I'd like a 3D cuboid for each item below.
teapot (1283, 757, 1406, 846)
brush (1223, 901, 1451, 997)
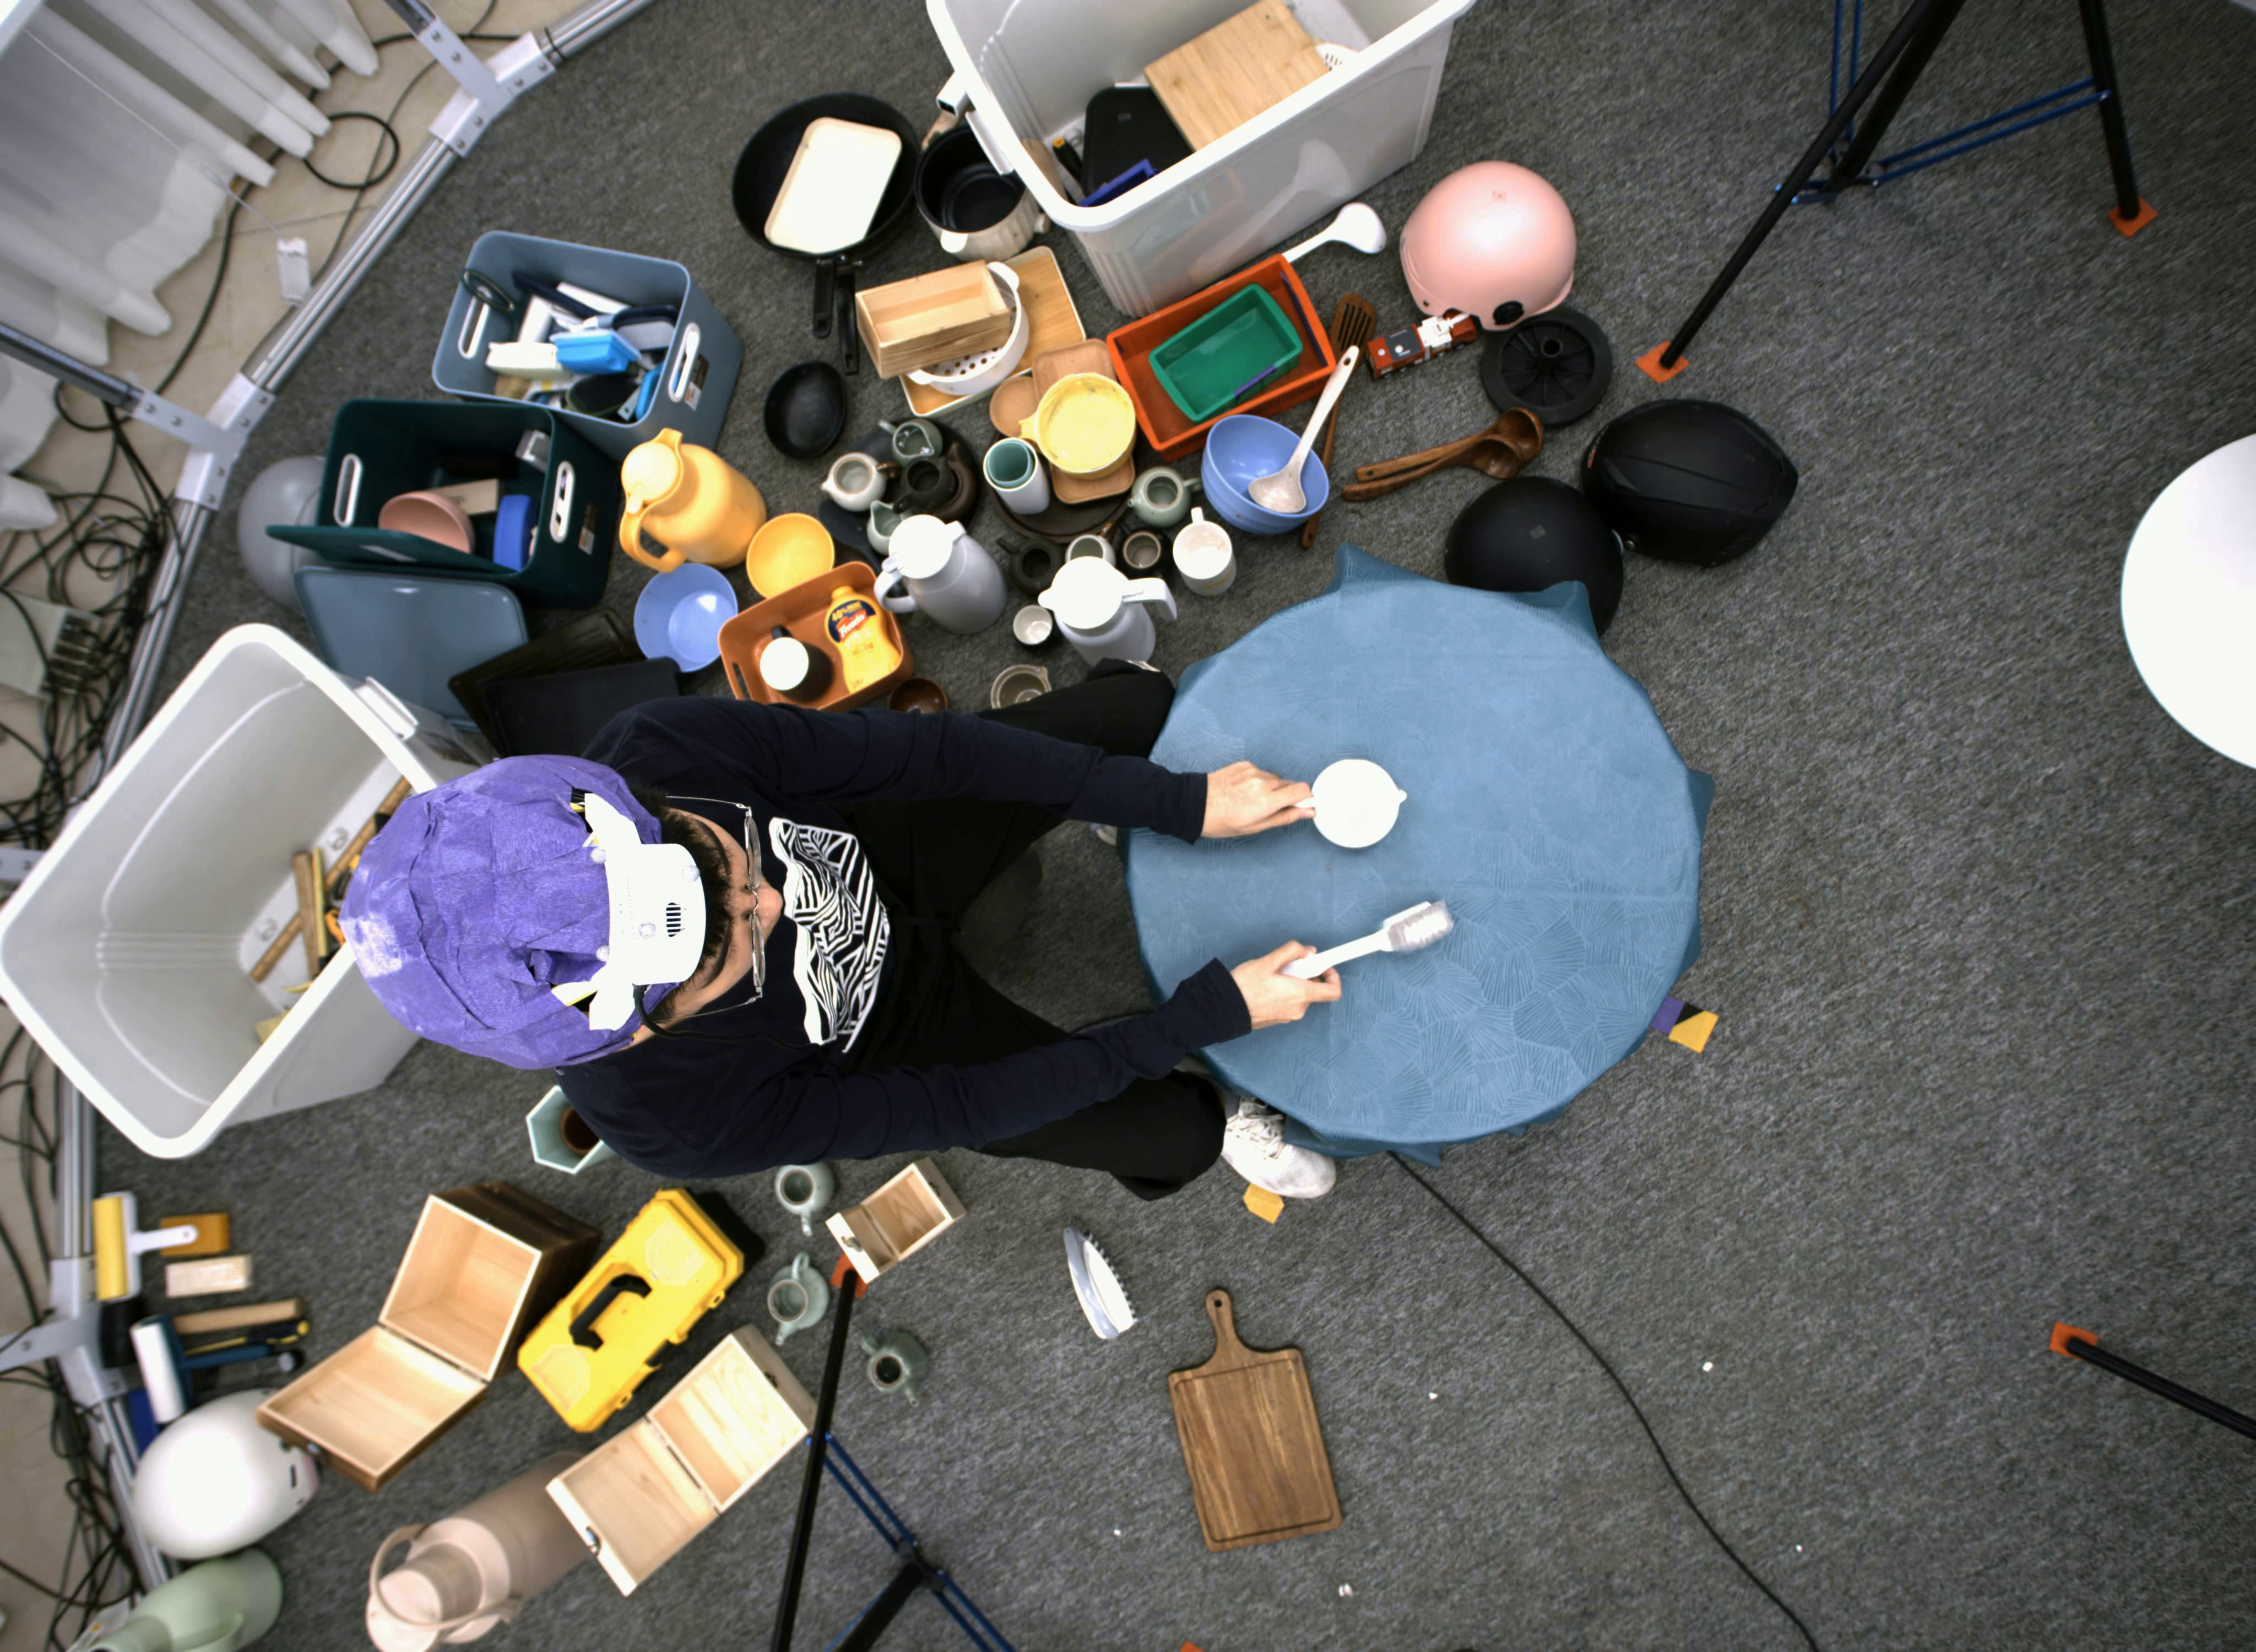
[{"bbox_3d":[0.226,-0.025,1.443,0.128,0.056,0.093,-9,87,8],"label":"teapot"},{"bbox_3d":[0.215,0.128,1.423,0.244,0.050,0.034,-19,90,-1],"label":"brush"}]
